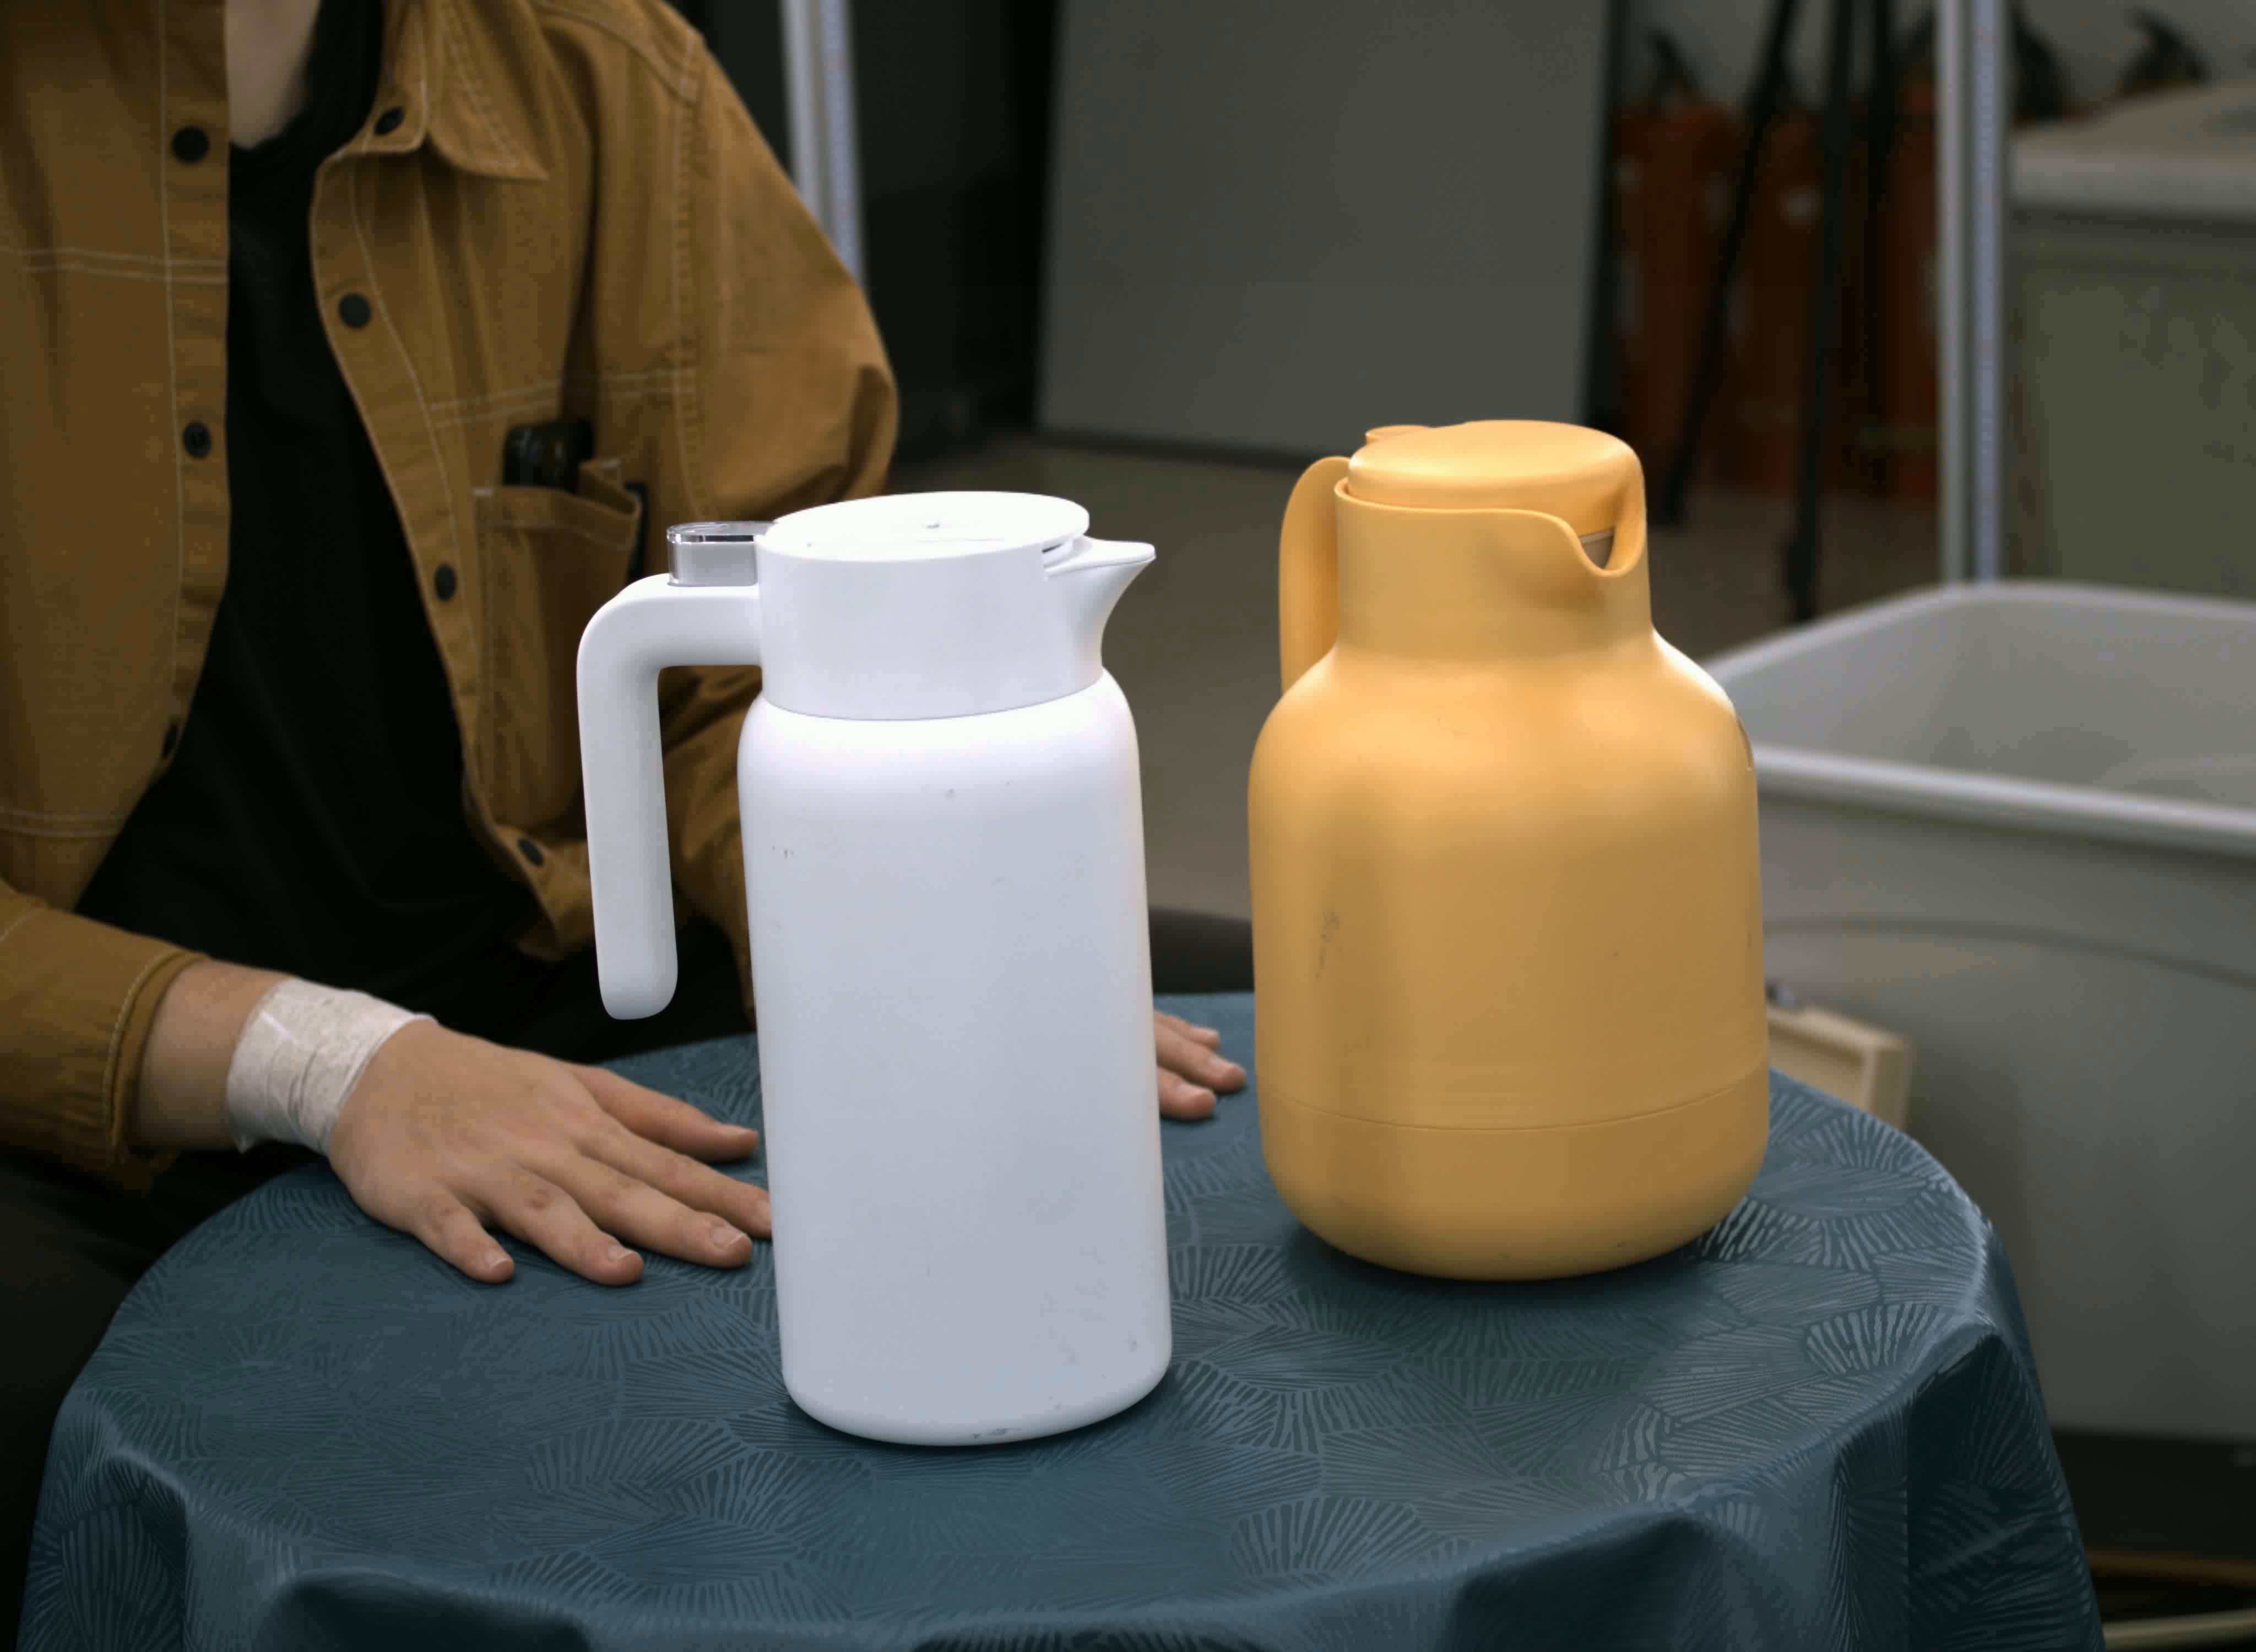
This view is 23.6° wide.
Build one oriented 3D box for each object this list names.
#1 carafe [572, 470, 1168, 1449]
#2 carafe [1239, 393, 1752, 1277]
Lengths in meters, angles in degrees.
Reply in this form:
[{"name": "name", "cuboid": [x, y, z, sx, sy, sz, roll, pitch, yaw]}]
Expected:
[{"name": "carafe", "cuboid": [-0.070, 0.038, 1.571, 0.171, 0.272, 0.123, -2, 15, 11]}, {"name": "carafe", "cuboid": [0.107, -0.005, 1.698, 0.160, 0.263, 0.204, -6, 15, -22]}]
